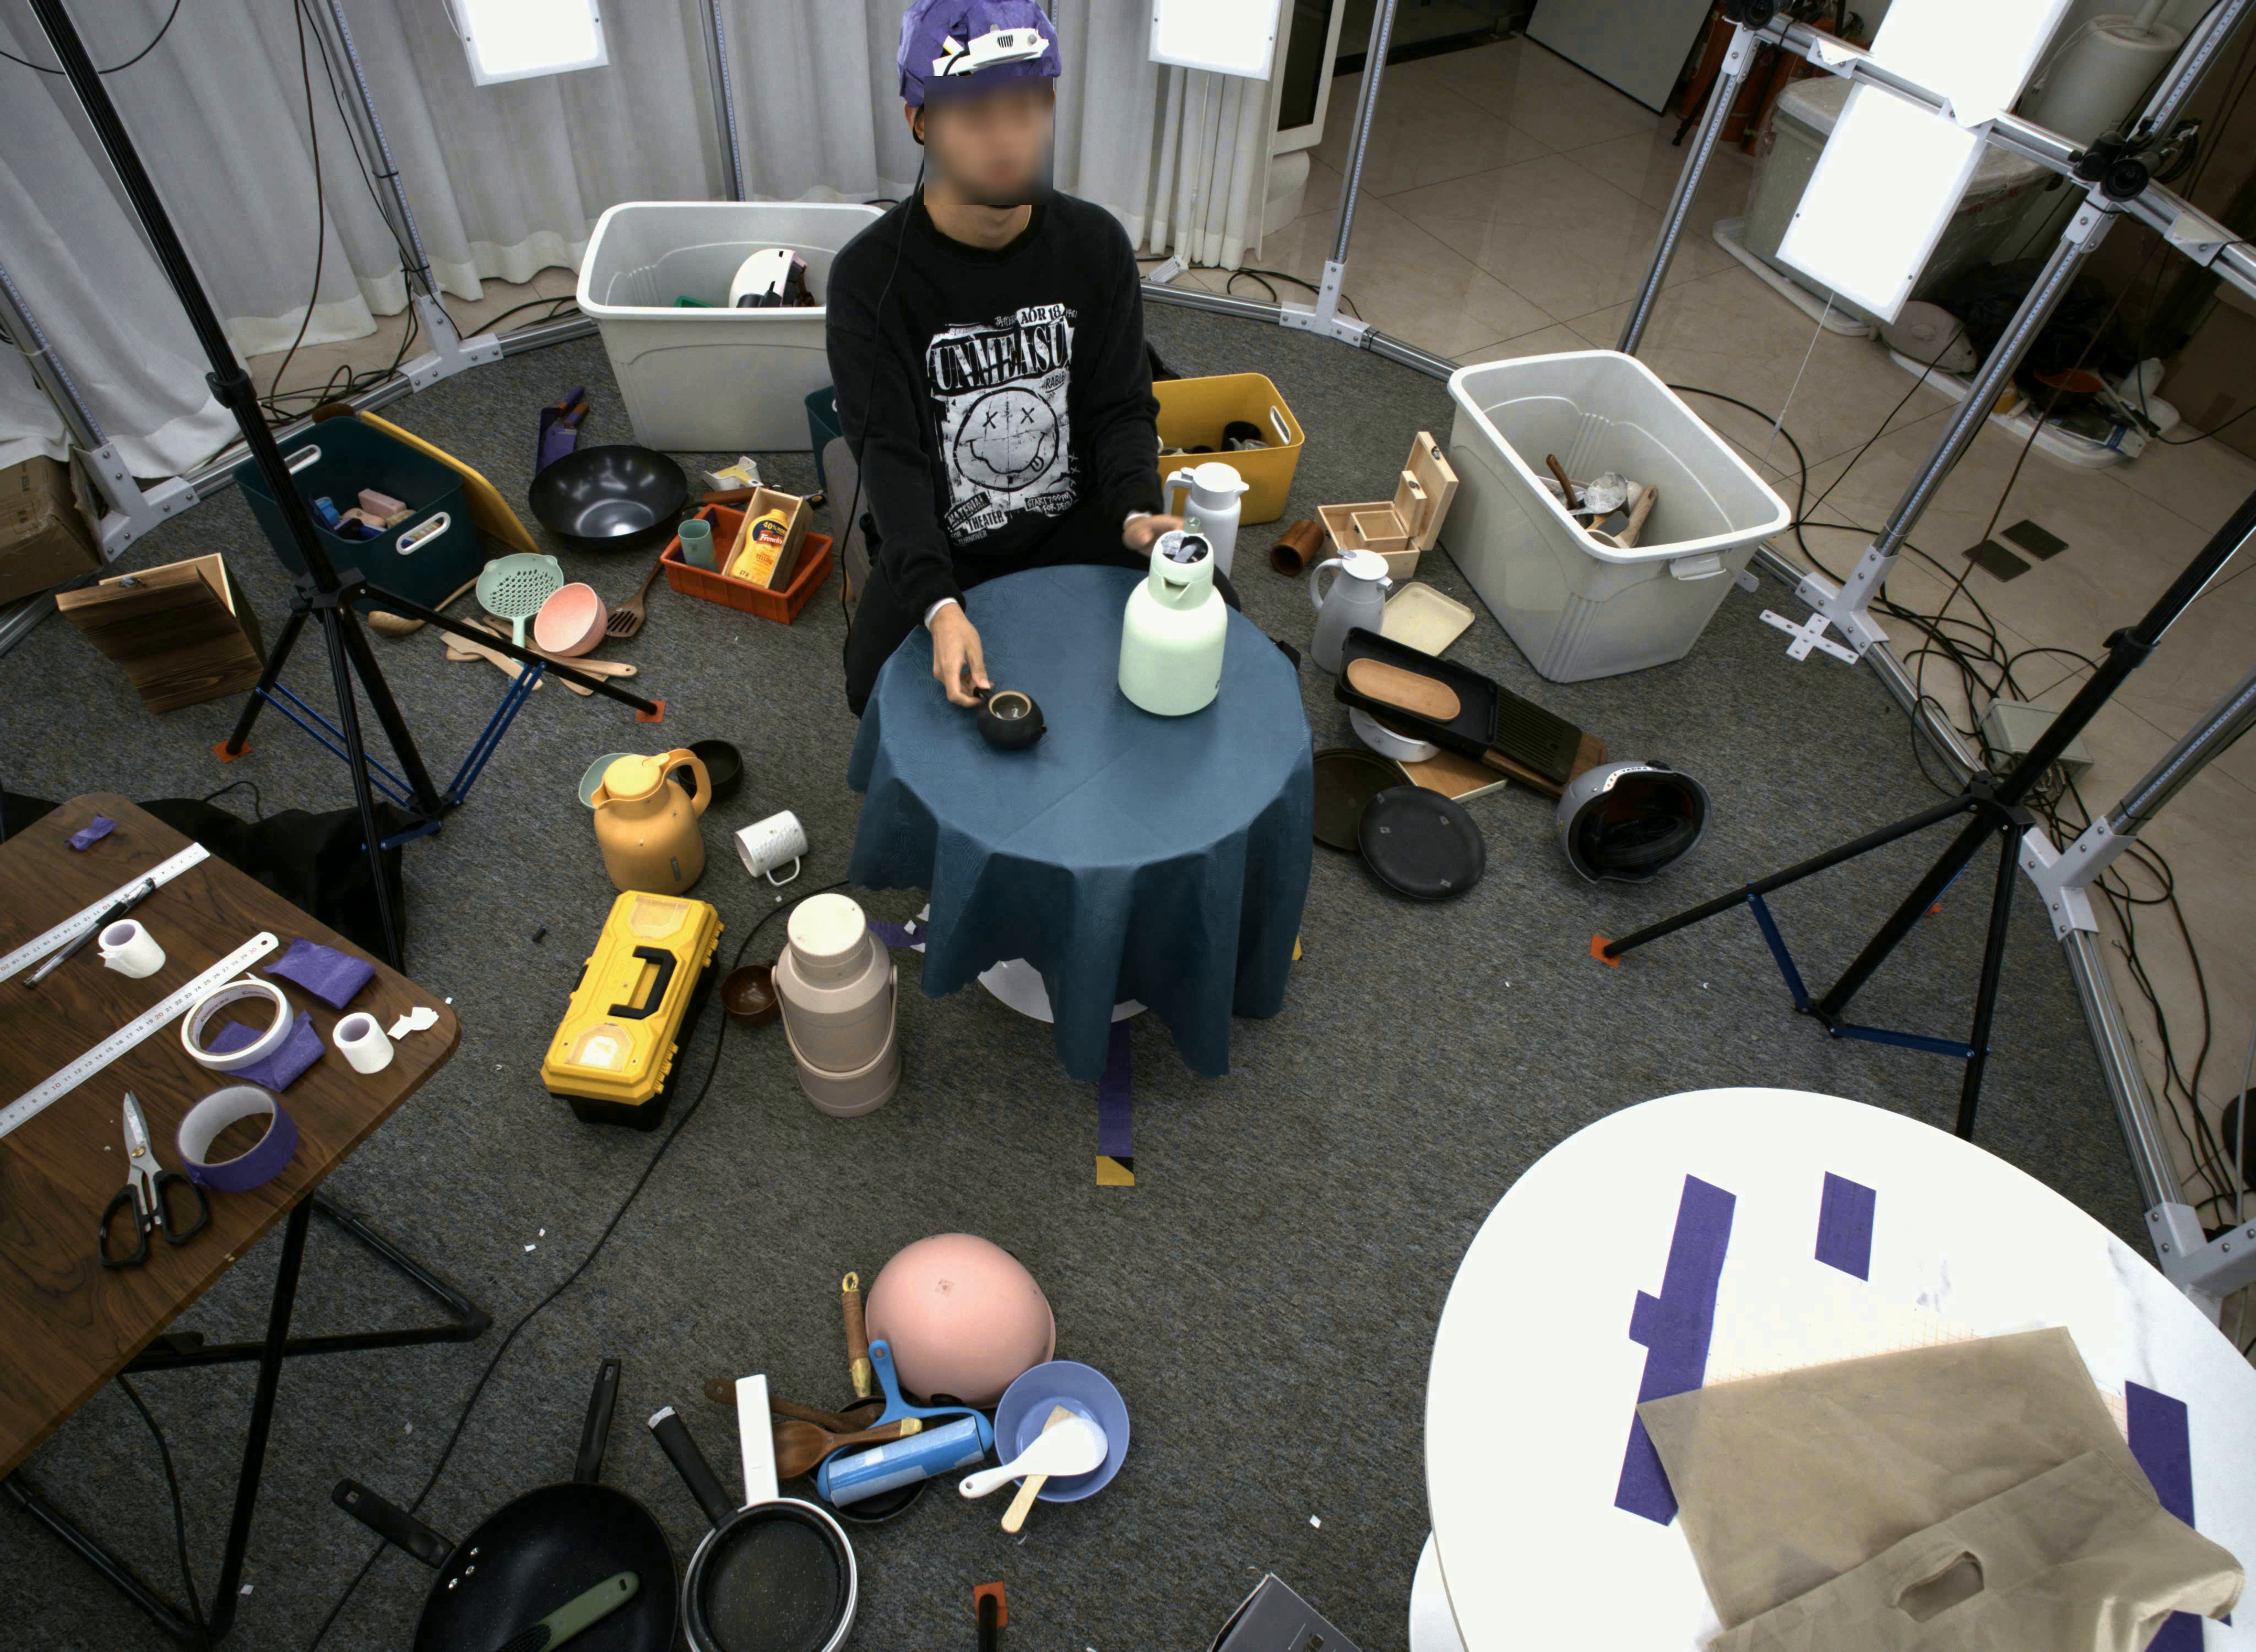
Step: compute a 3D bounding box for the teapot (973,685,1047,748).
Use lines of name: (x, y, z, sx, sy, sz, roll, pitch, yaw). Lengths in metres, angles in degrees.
teapot: (-0.161, -0.147, 1.752, 0.135, 0.052, 0.092, 34, 54, 24)

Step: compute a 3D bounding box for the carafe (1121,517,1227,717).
carafe: (0.069, -0.291, 1.764, 0.144, 0.250, 0.191, 11, 46, 7)
